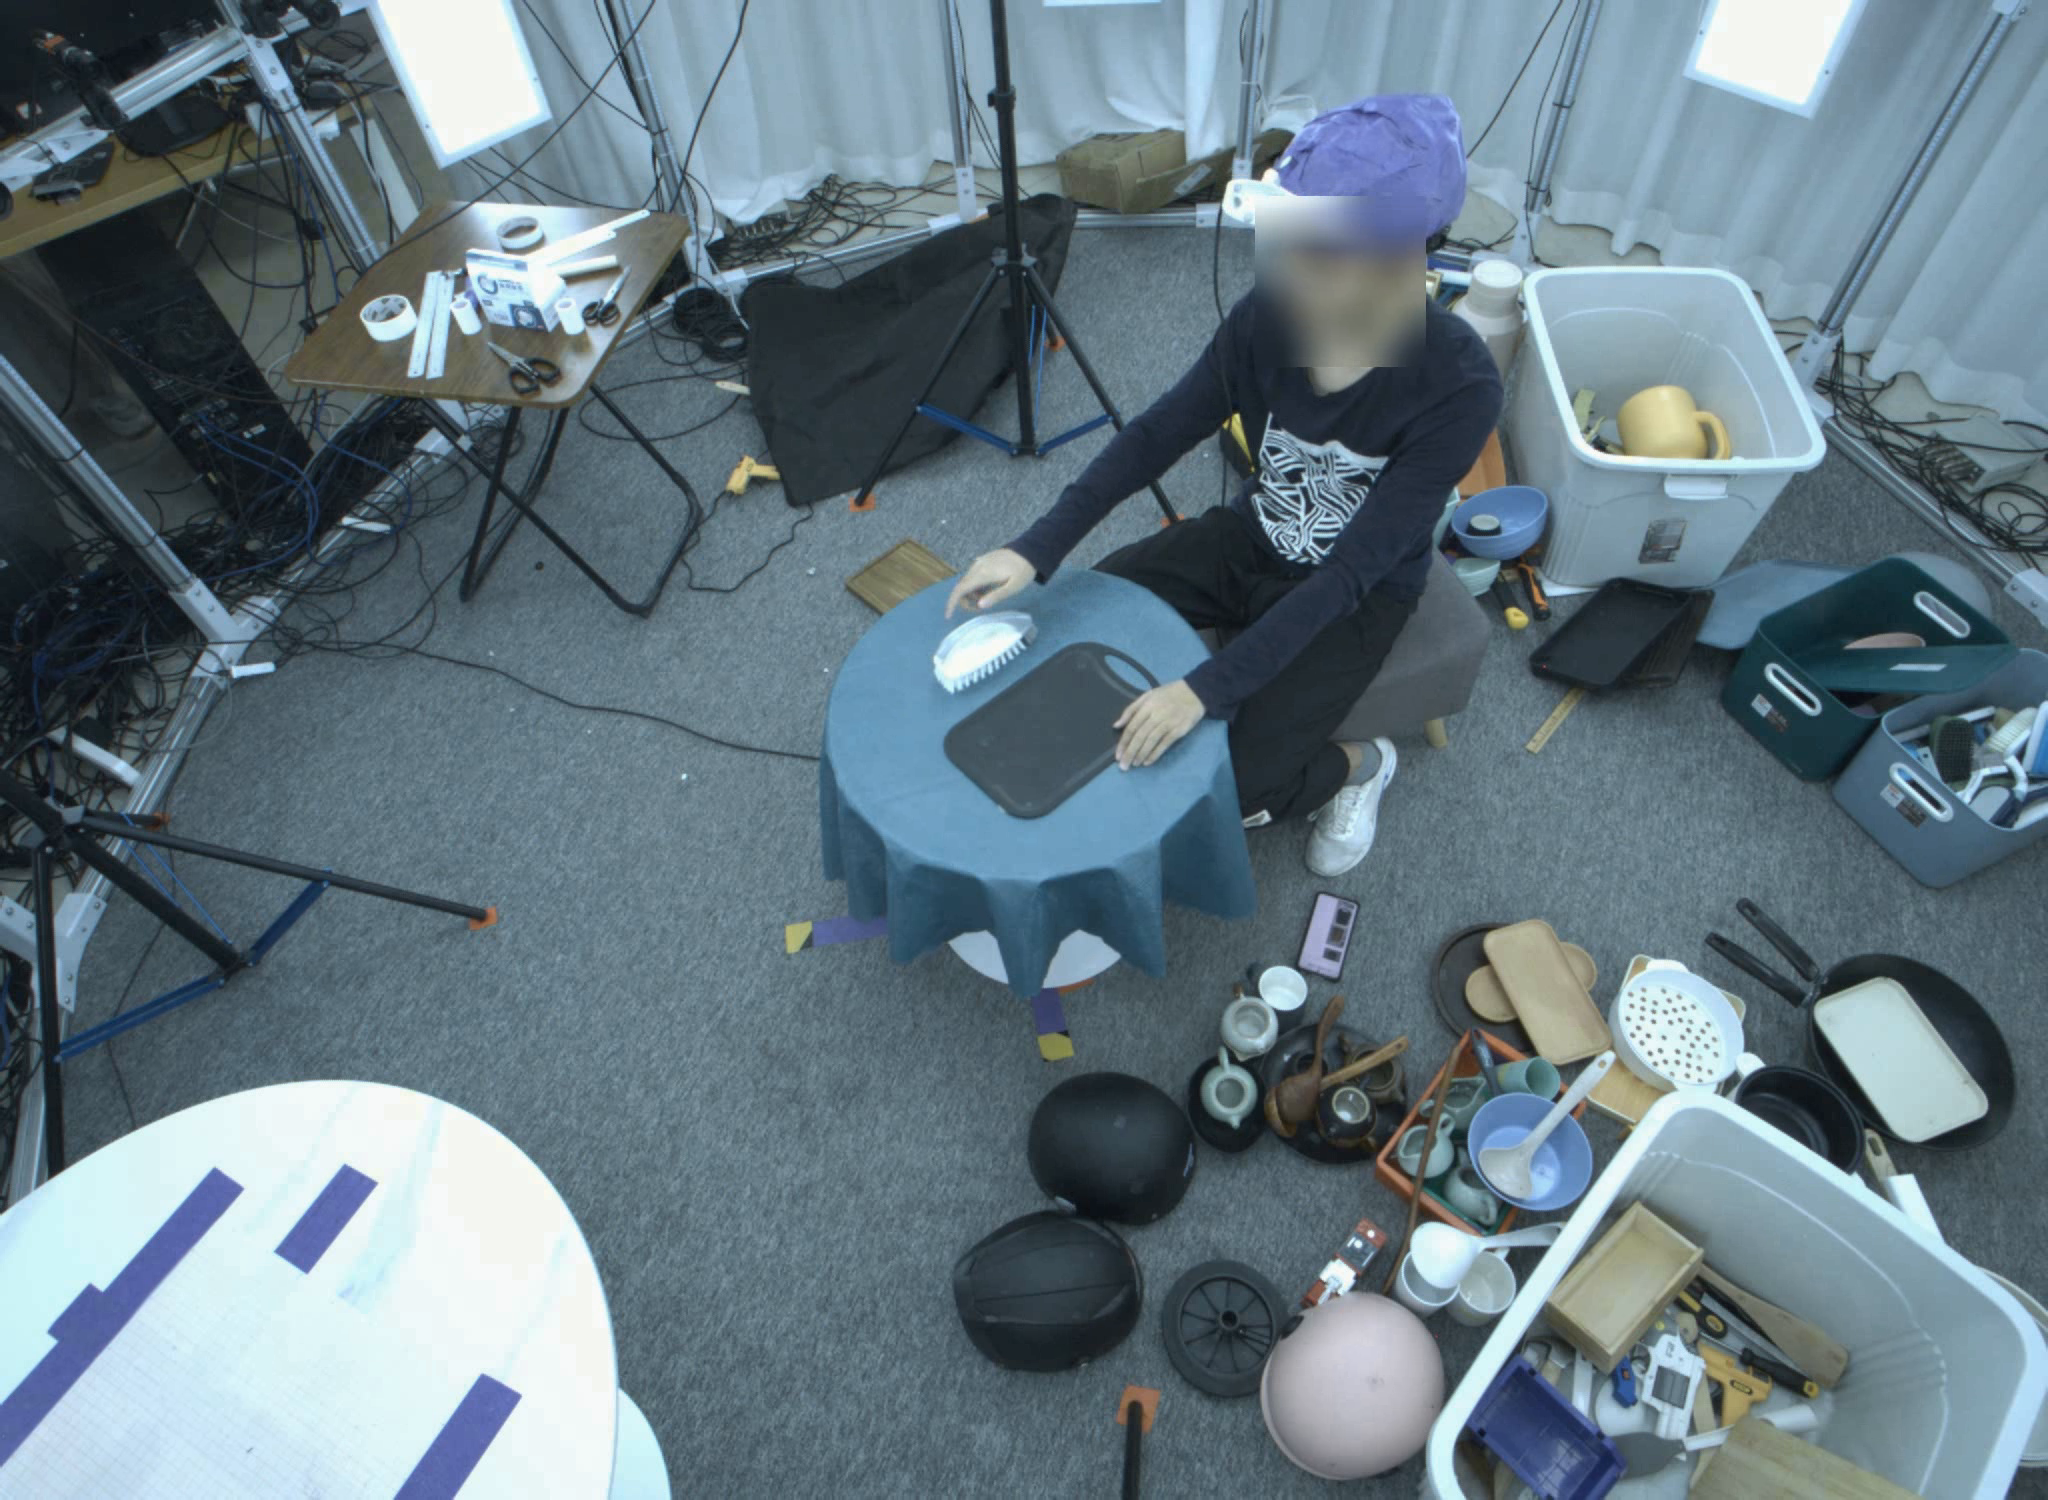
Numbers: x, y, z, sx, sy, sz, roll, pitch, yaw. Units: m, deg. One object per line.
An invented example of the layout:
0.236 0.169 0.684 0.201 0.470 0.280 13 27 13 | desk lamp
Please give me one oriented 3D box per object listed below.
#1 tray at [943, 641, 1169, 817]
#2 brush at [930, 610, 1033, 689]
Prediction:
0.053 -0.043 1.804 0.328 0.010 0.207 -36 61 -22 | tray
-0.059 -0.169 1.846 0.177 0.095 0.060 -29 60 -20 | brush
